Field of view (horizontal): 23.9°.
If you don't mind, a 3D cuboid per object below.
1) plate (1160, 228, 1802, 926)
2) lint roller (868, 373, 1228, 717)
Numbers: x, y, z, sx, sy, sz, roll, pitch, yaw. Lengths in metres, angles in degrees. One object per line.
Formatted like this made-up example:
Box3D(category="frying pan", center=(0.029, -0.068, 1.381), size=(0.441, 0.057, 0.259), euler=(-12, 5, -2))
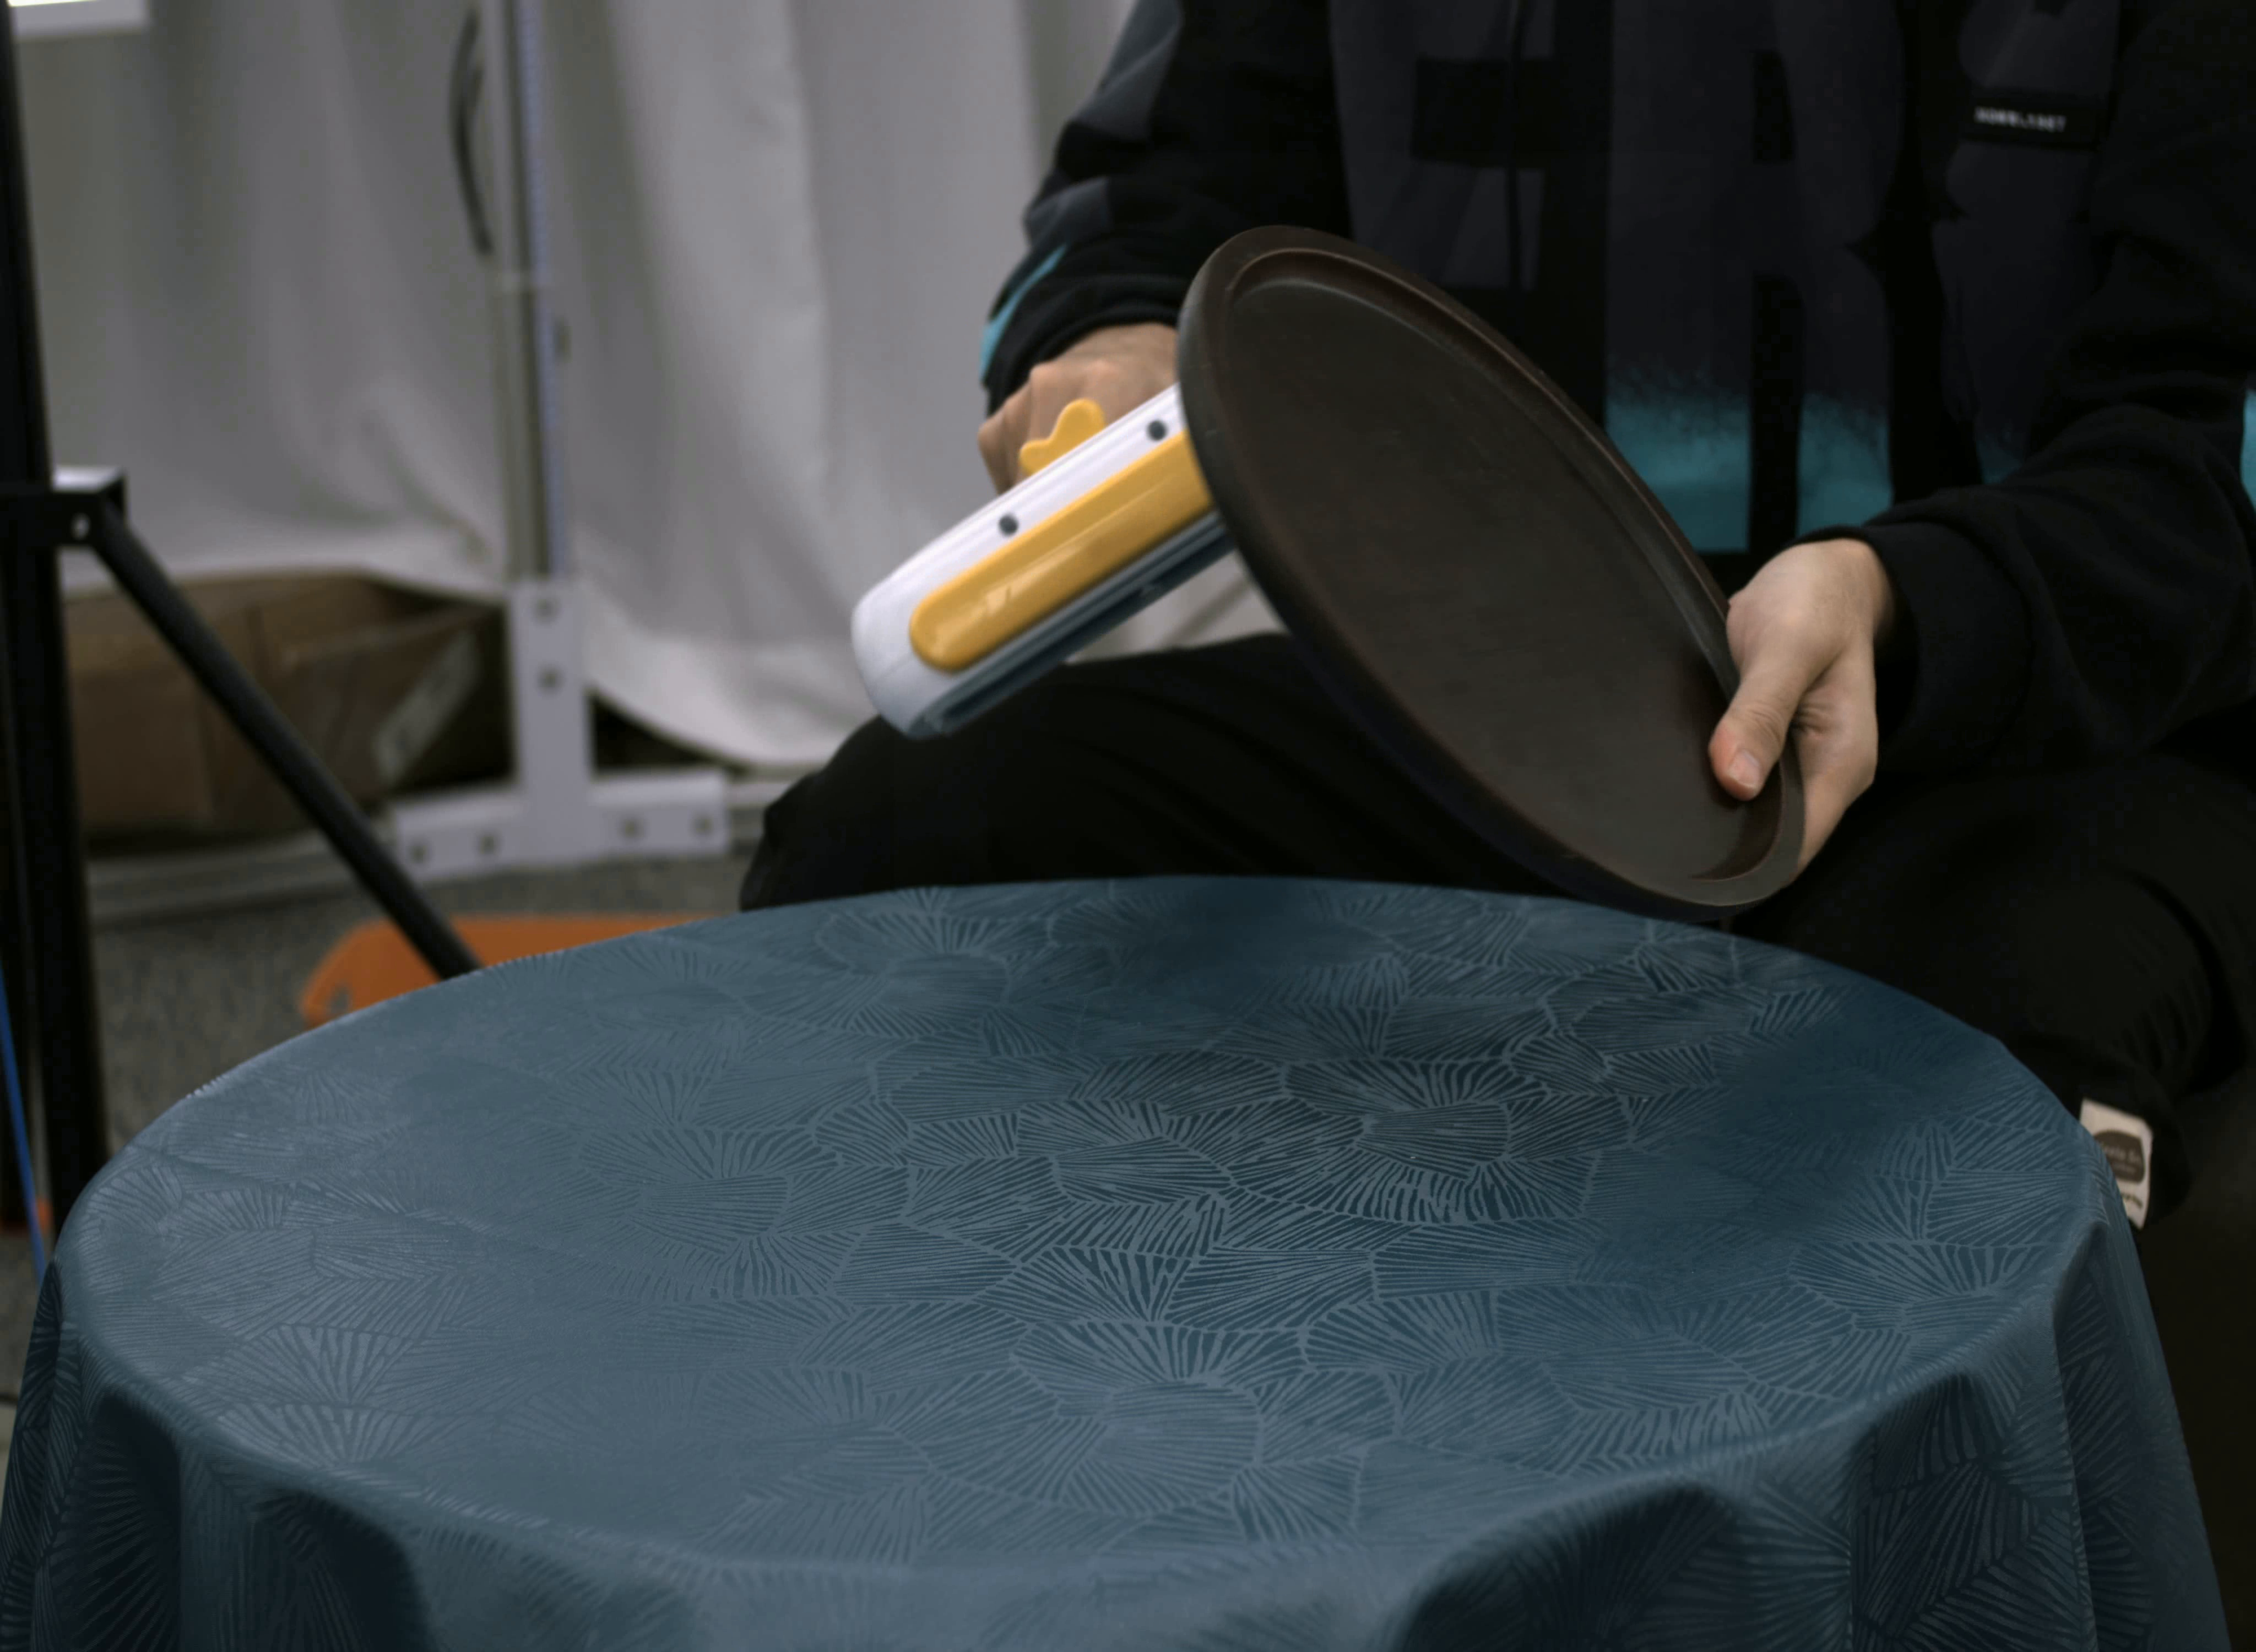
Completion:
Box3D(category="plate", center=(0.105, -0.073, 1.575), size=(0.029, 0.256, 0.251), euler=(-43, -4, 27))
Box3D(category="lint roller", center=(-0.003, -0.108, 1.810), size=(0.192, 0.074, 0.192), euler=(-36, 0, 1))
